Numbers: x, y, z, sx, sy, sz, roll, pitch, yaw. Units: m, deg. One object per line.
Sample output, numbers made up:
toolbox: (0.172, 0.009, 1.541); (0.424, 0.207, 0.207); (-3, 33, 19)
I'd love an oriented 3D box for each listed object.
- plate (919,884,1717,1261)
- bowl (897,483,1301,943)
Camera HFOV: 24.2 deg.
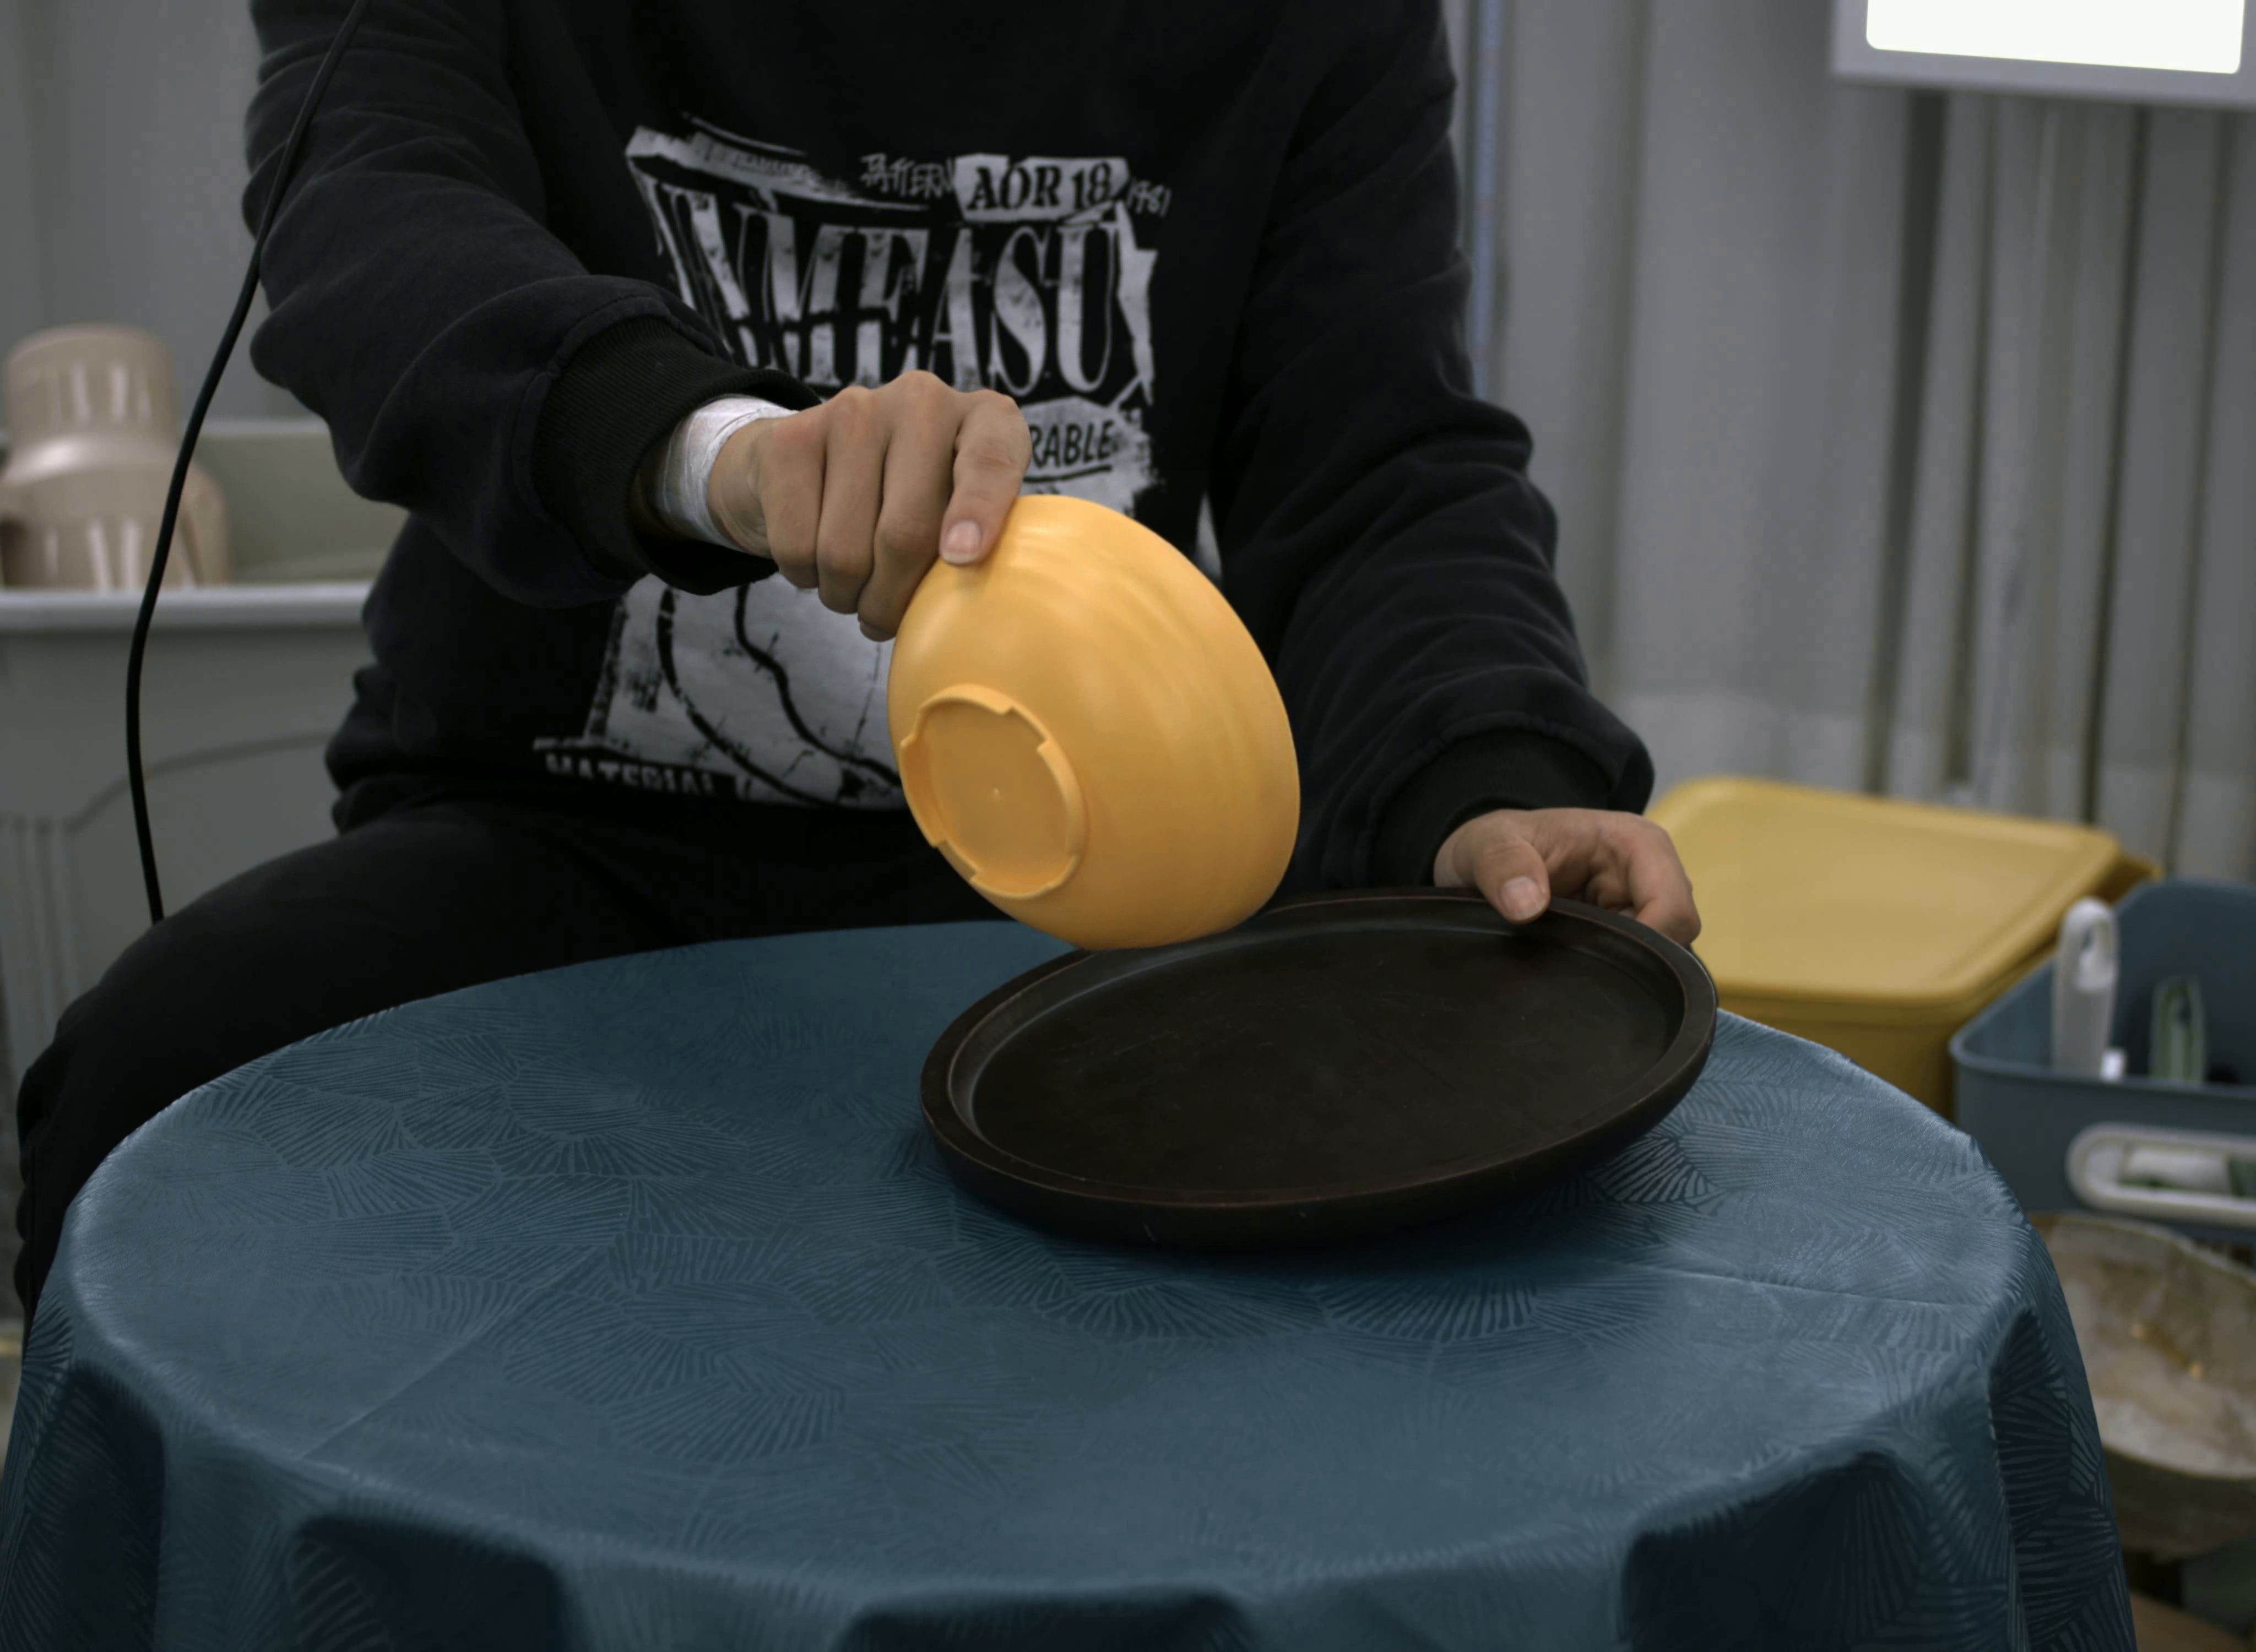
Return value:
plate: (0.060, 0.075, 1.659); (0.254, 0.029, 0.253); (-8, 20, 3)
bowl: (-0.022, -0.023, 1.547); (0.143, 0.147, 0.060); (15, 34, 39)
